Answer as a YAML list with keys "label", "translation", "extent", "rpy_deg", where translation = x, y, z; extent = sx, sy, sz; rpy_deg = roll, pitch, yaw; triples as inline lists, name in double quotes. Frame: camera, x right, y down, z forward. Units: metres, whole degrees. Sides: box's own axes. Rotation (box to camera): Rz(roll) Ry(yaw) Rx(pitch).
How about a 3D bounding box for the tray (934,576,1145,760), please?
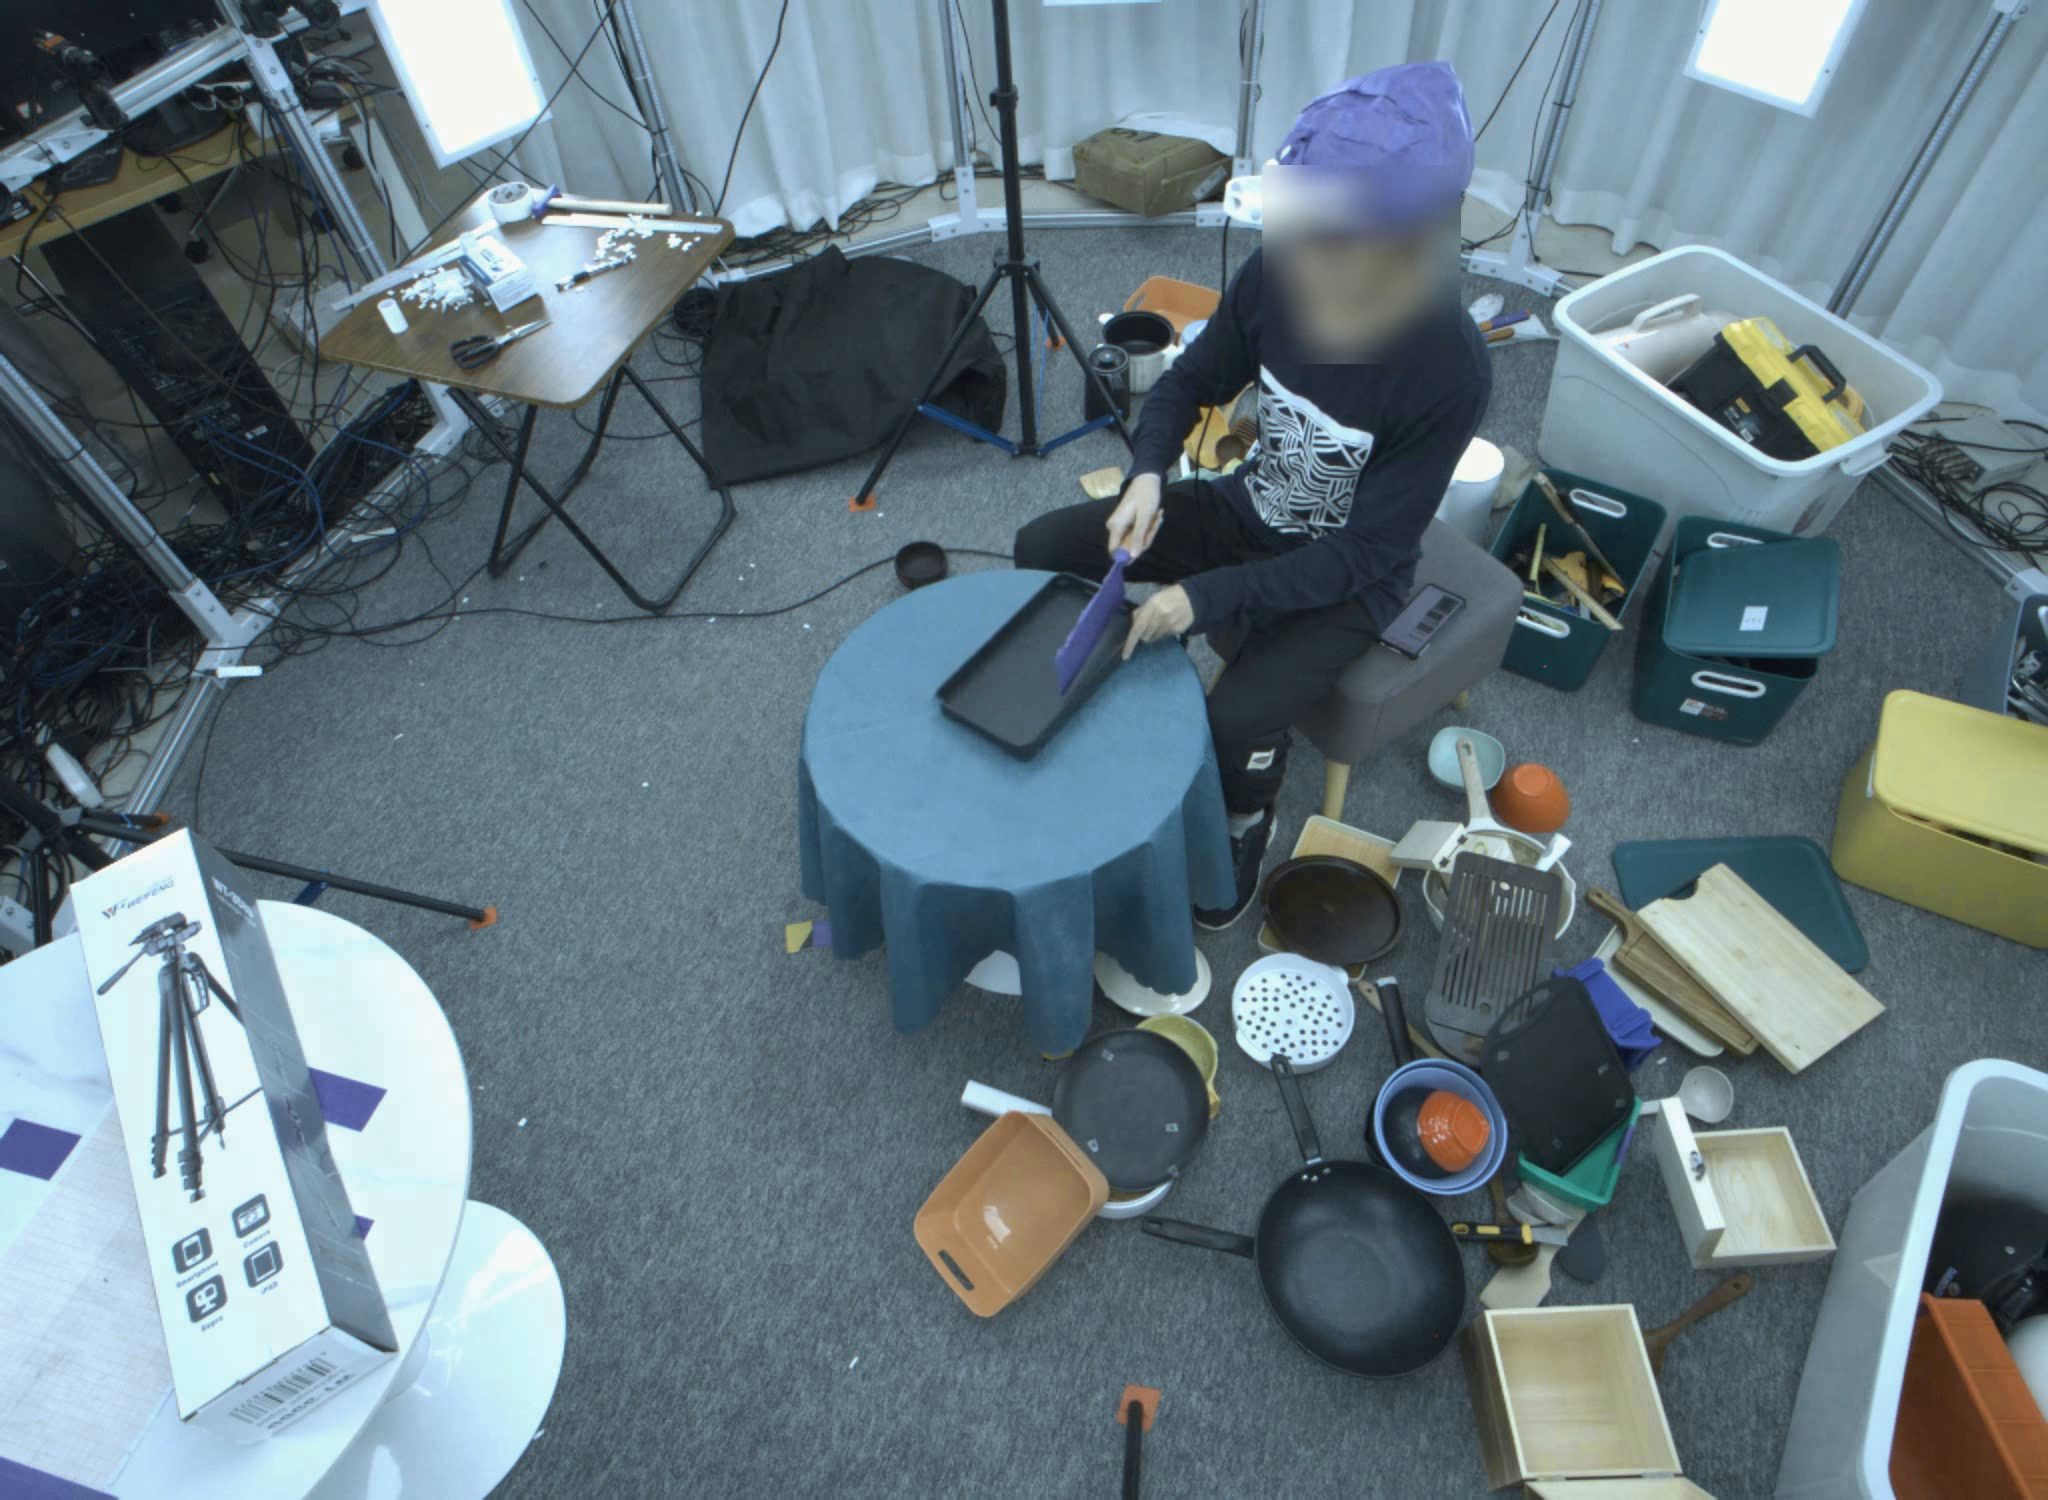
- label: "tray"
  translation: [0.027, -0.130, 1.857]
  extent: [0.181, 0.037, 0.319]
  rpy_deg: [29, 60, 25]

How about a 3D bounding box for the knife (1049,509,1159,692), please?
- label: "knife"
  translation: [0.119, -0.225, 1.841]
  extent: [0.032, 0.105, 0.316]
  rpy_deg: [24, 65, 21]
